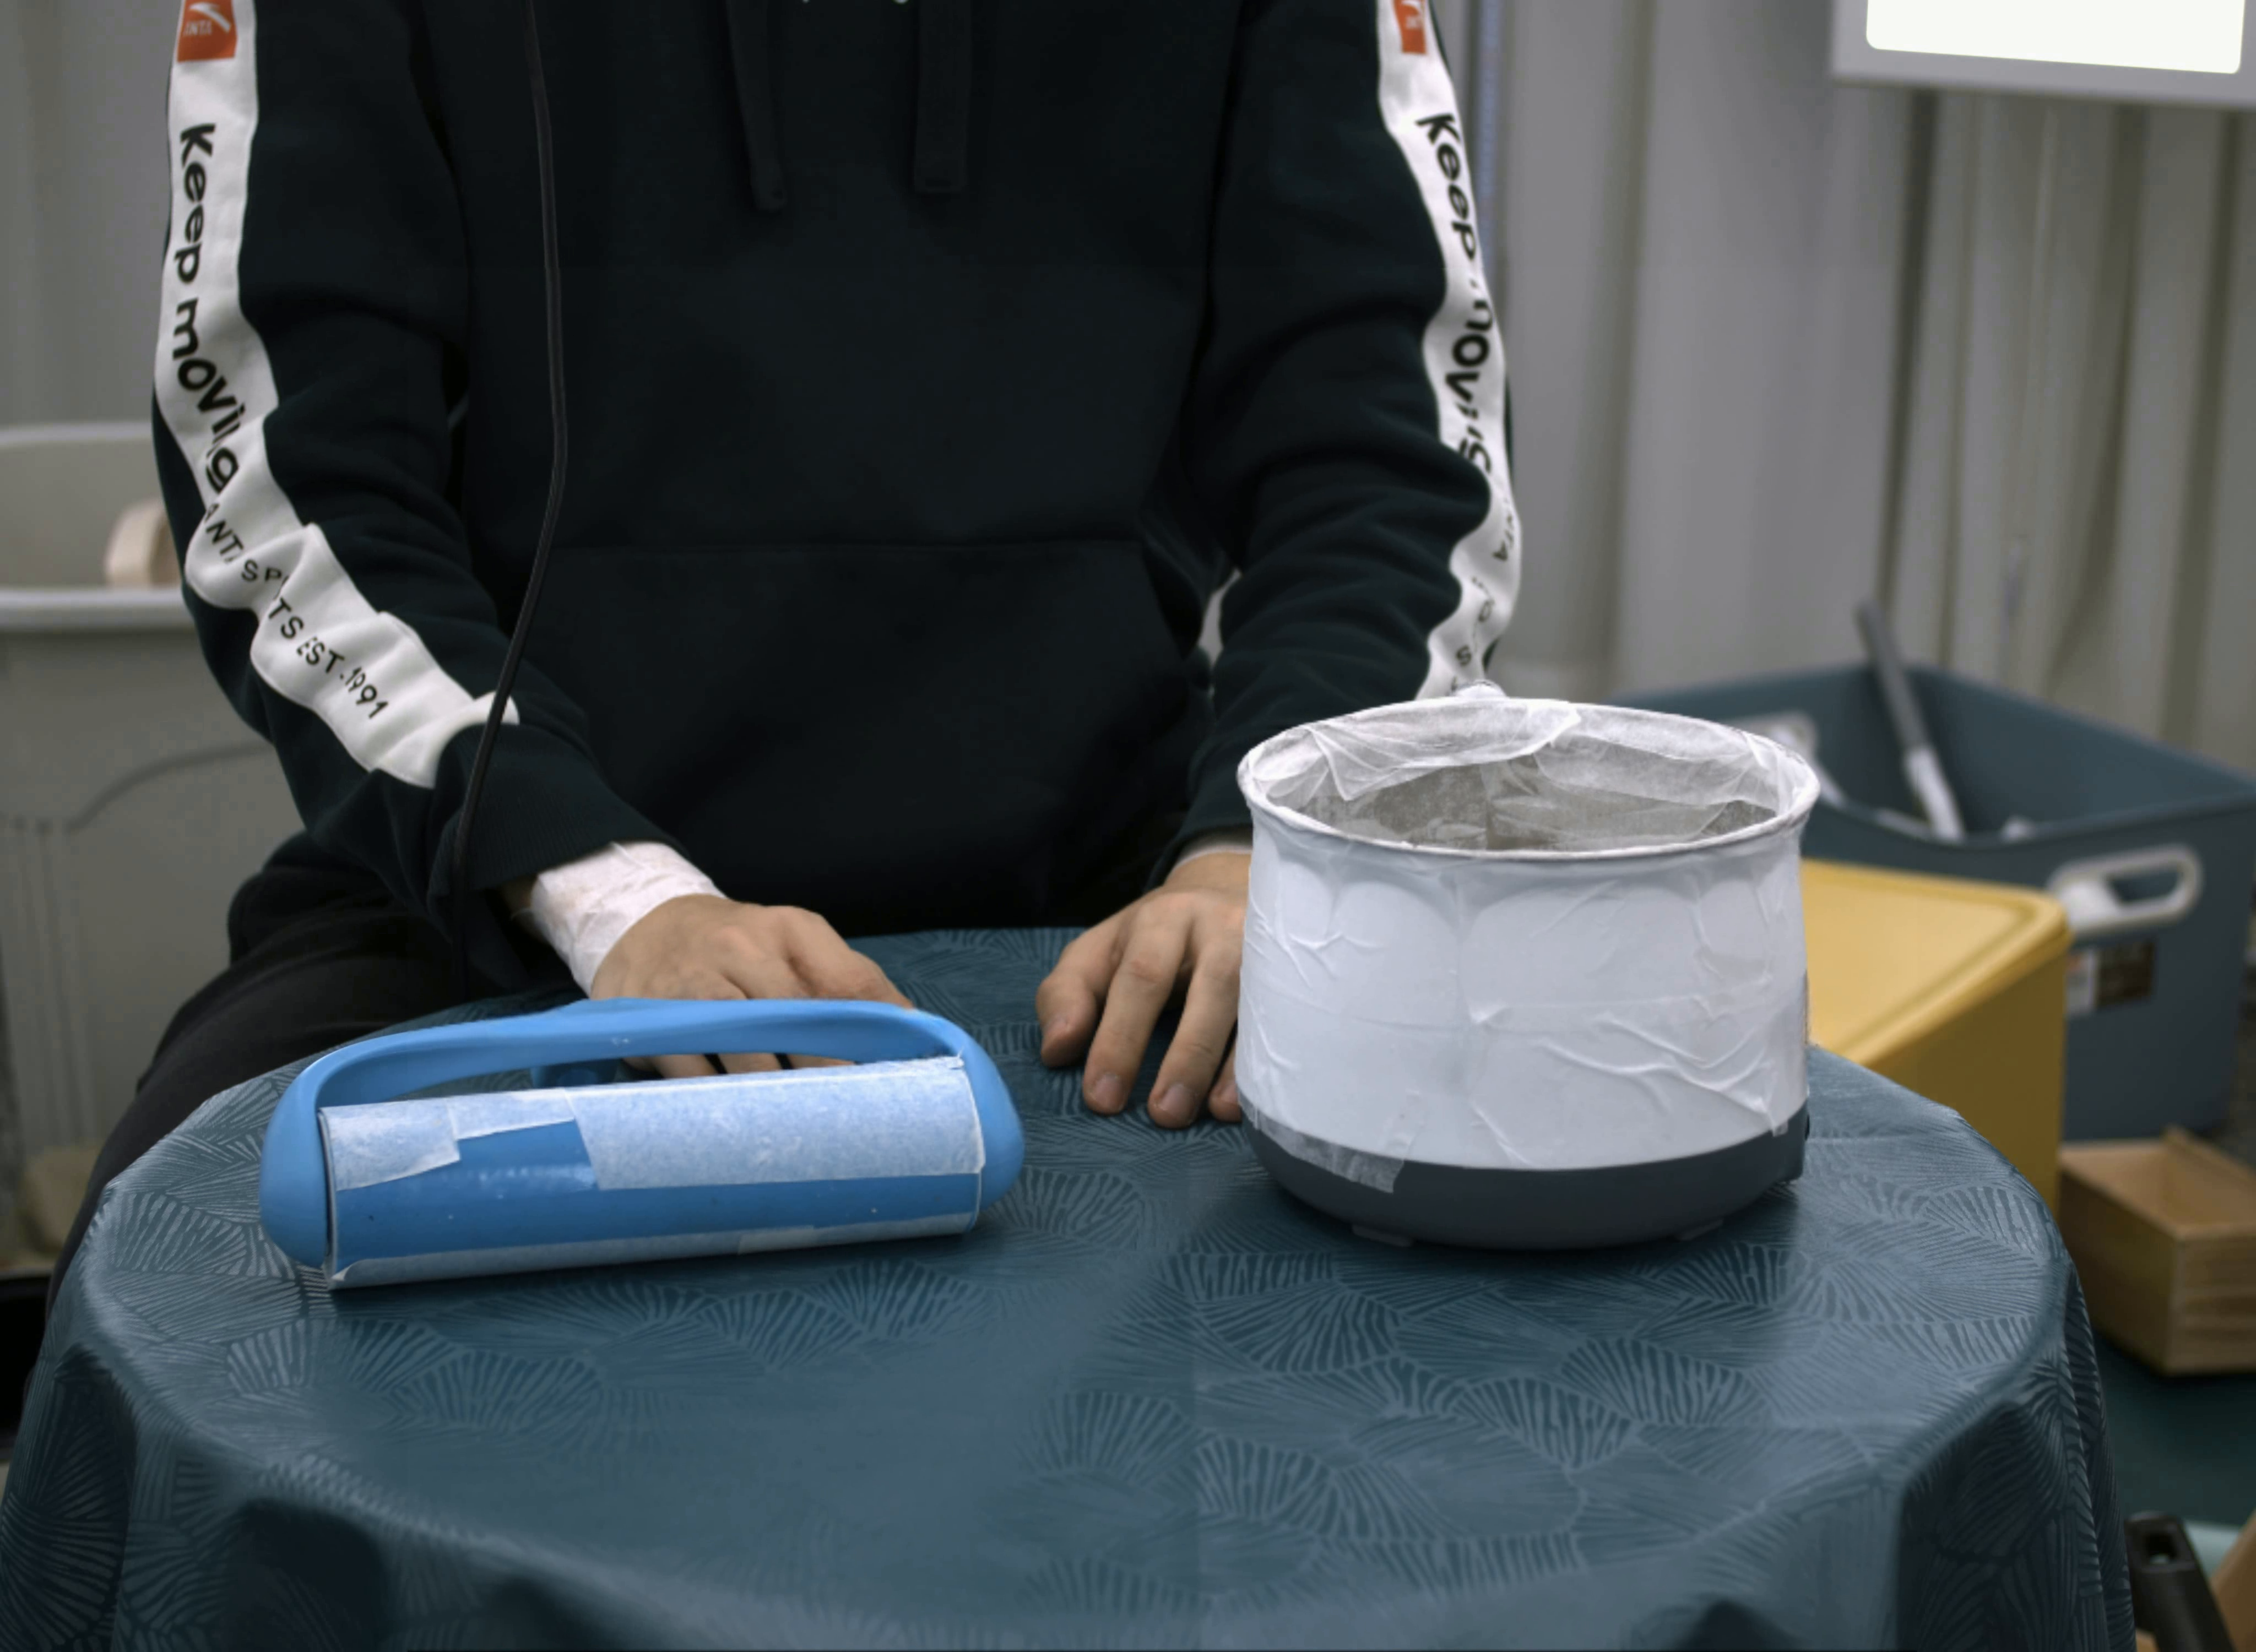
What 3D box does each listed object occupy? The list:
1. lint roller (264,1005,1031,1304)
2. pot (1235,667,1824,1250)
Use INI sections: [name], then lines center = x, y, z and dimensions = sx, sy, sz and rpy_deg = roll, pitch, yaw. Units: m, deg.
[lint roller]
center = -0.159, 0.087, 1.602
dimensions = 0.229, 0.068, 0.178
rpy_deg = -7, 18, -18
[pot]
center = 0.118, 0.036, 1.634
dimensions = 0.178, 0.138, 0.232
rpy_deg = -1, 17, -6
